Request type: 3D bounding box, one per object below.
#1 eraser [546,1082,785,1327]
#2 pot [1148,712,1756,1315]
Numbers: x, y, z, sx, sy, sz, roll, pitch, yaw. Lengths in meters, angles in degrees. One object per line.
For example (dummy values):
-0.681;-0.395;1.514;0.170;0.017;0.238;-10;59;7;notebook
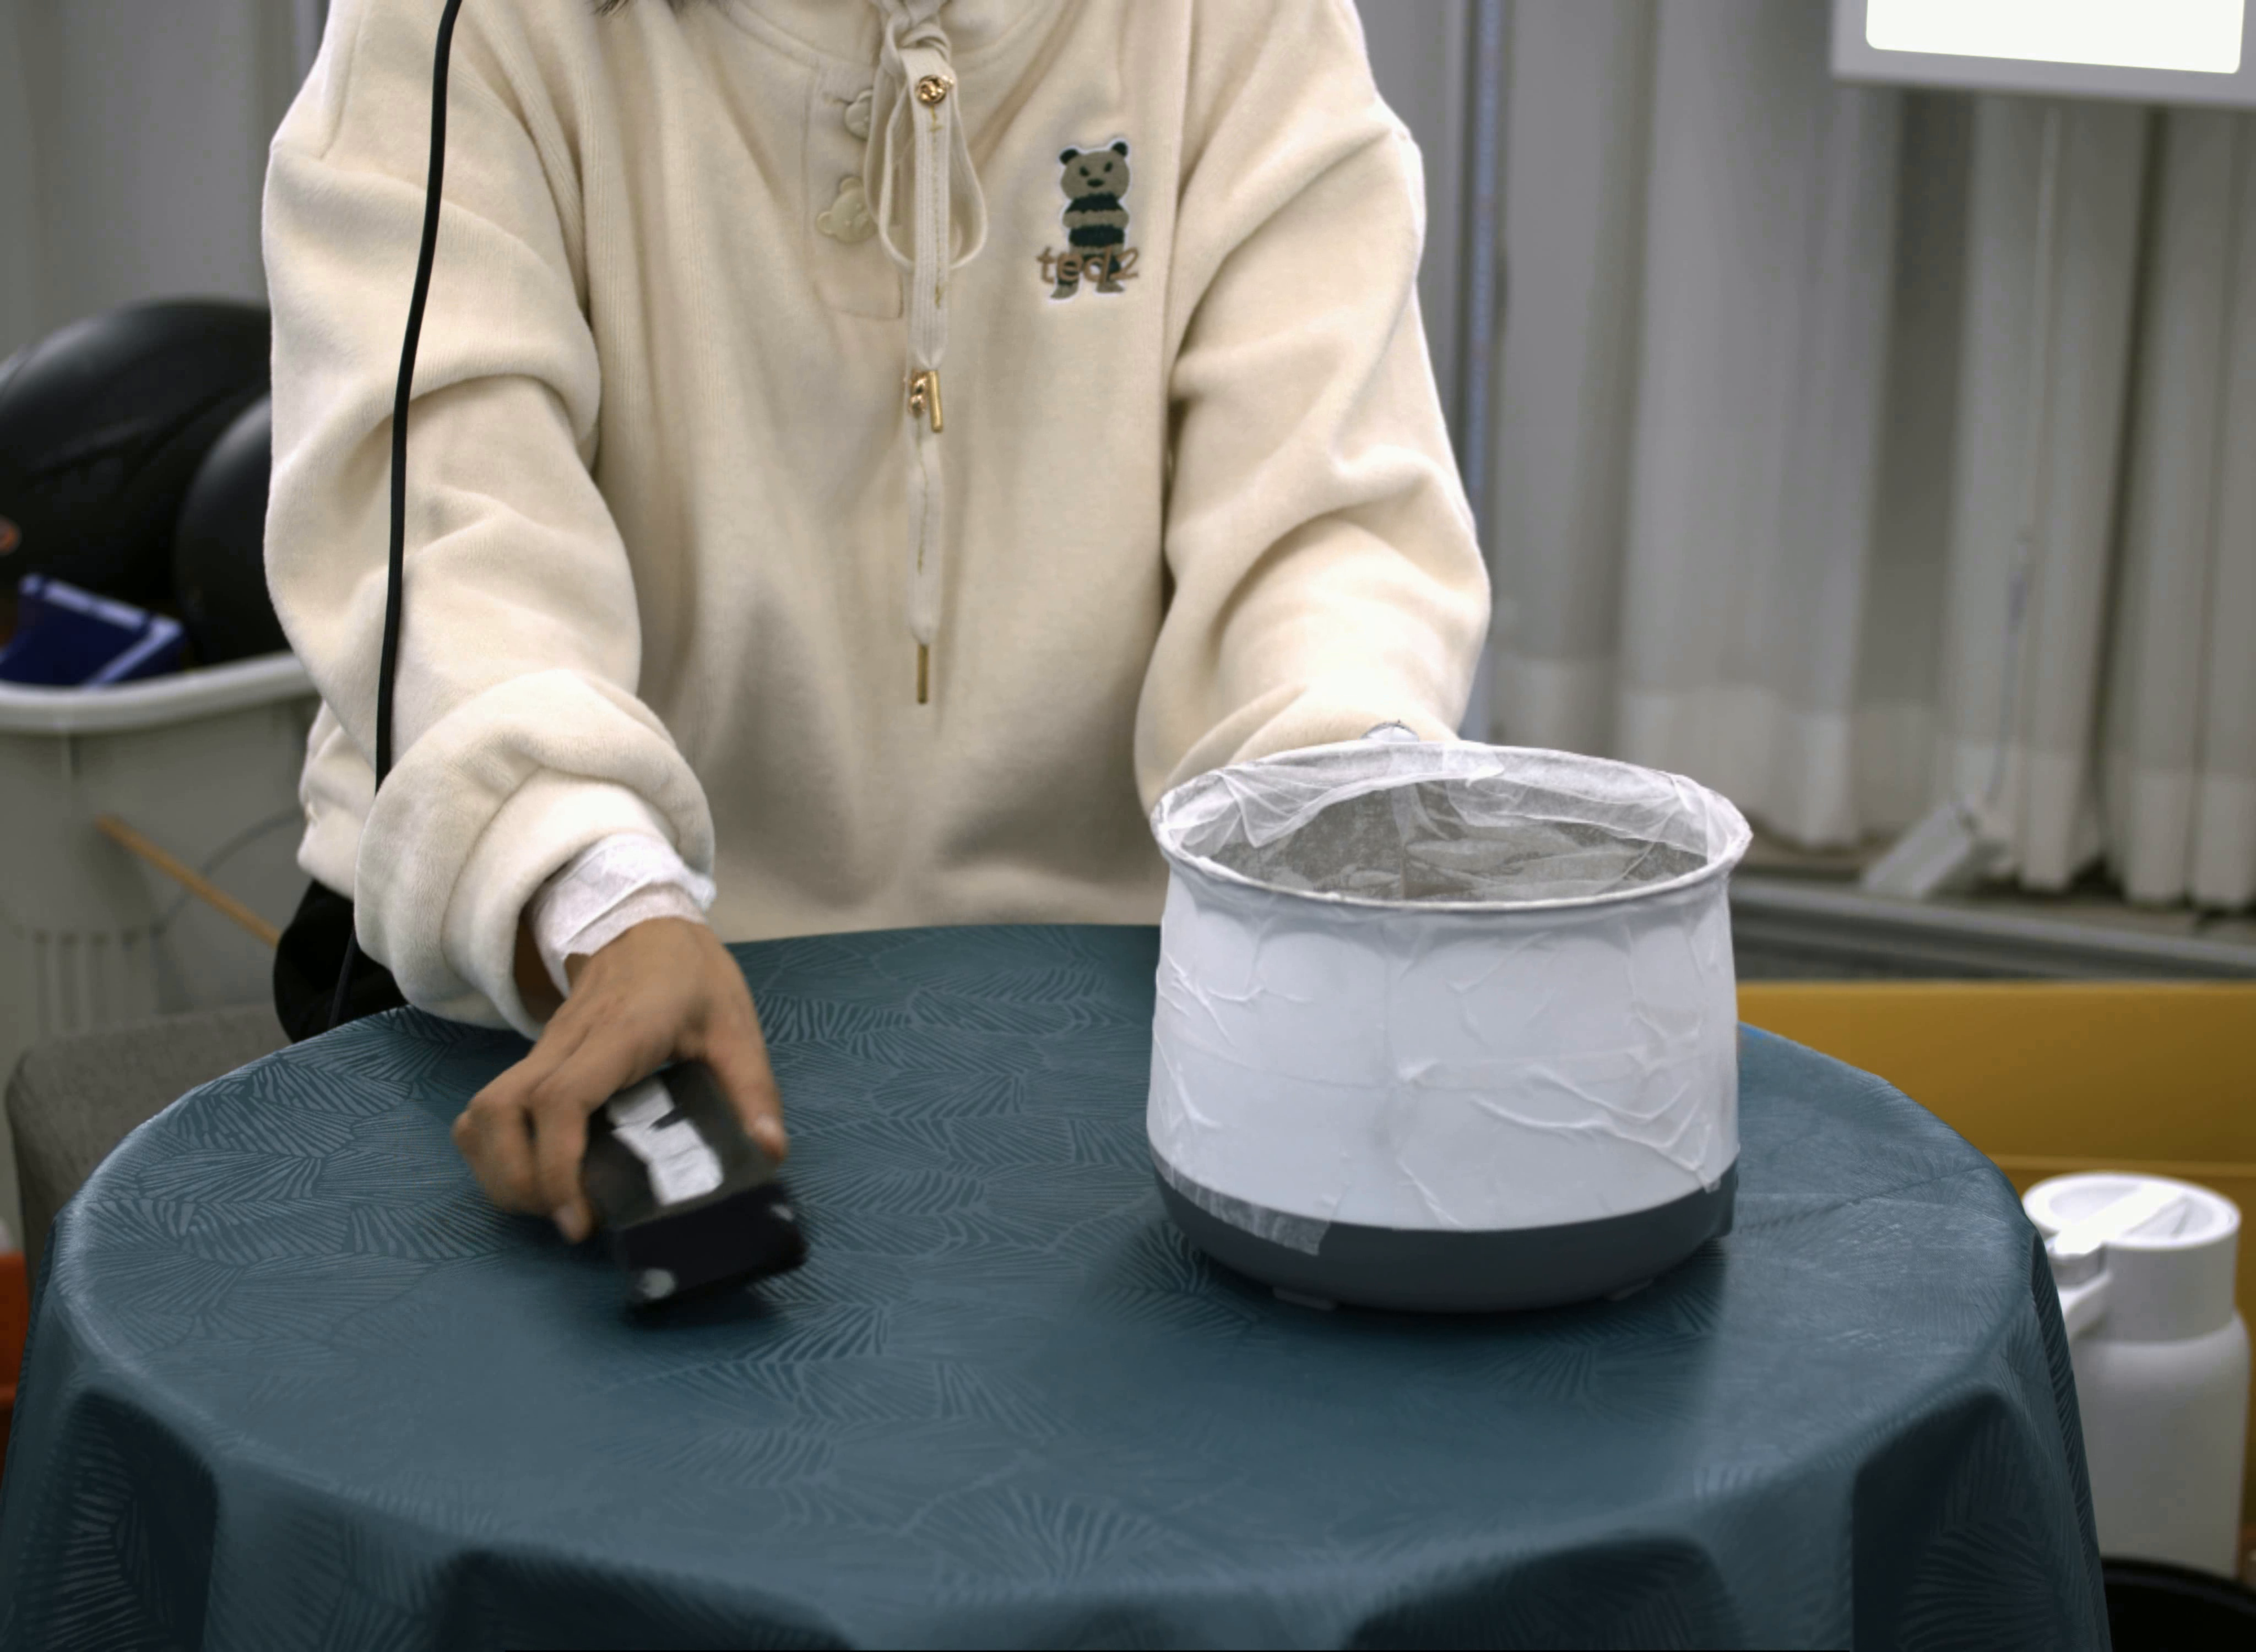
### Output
-0.136;0.110;1.549;0.053;0.031;0.124;-14;17;-10;eraser
0.090;0.050;1.583;0.178;0.138;0.232;-2;17;-9;pot
